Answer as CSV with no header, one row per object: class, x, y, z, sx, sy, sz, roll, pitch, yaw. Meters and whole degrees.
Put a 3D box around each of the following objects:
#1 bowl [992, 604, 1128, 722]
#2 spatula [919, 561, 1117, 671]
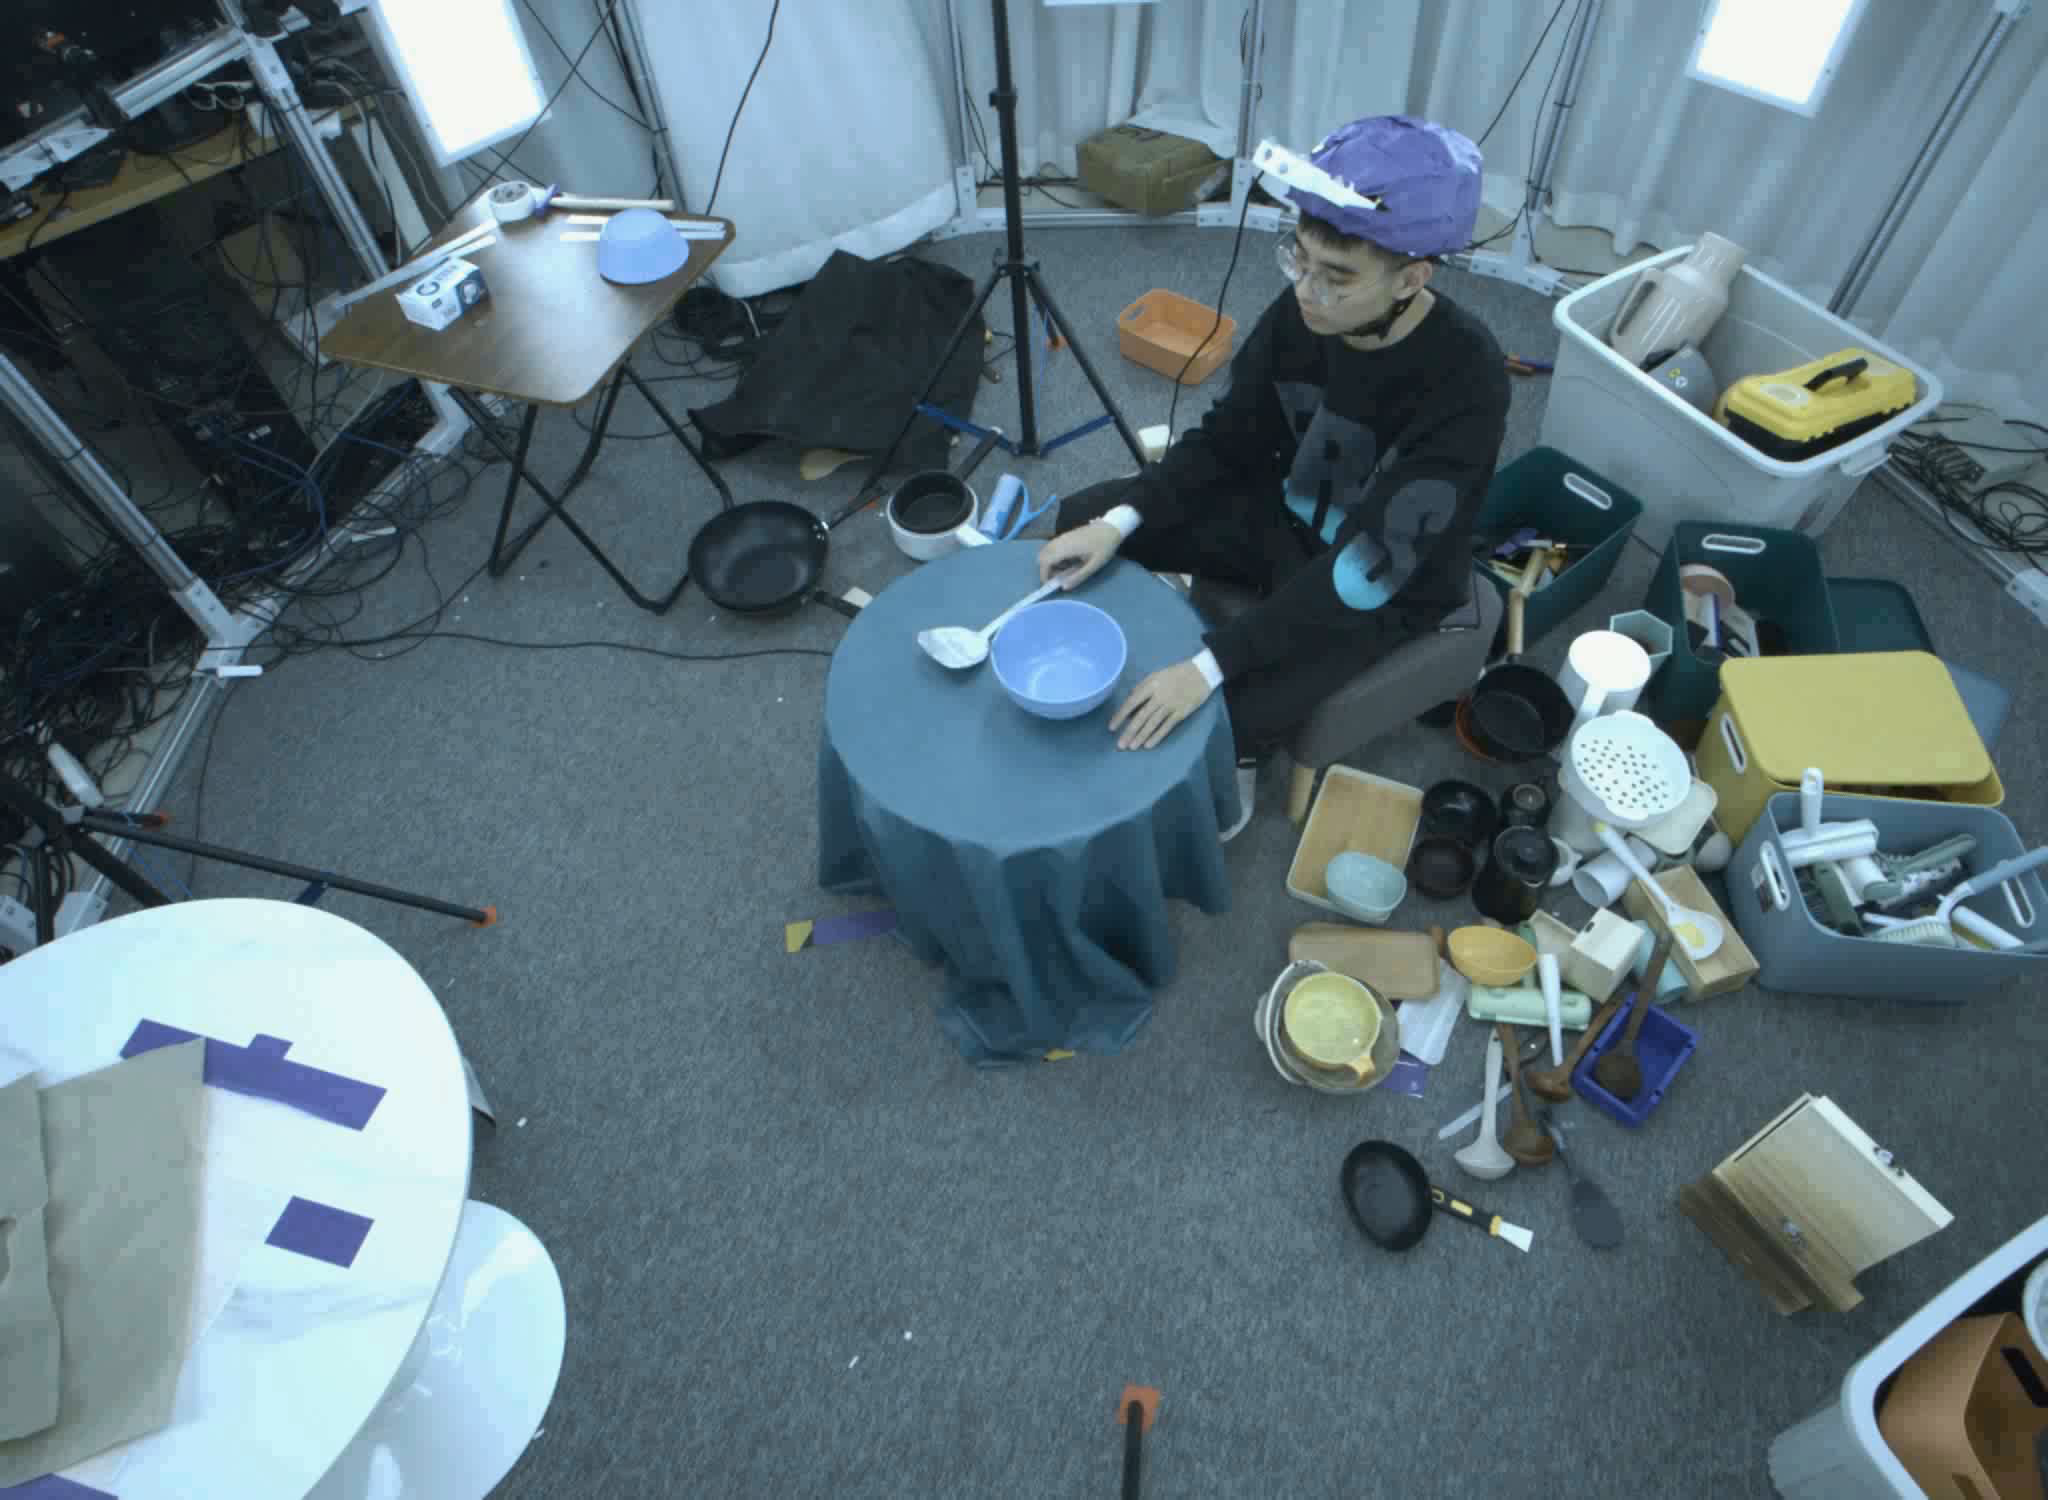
bowl,0.055,-0.113,1.818,0.196,0.096,0.194,-1,54,3
spatula,0.001,-0.225,1.932,0.368,0.045,0.097,-35,59,-20
